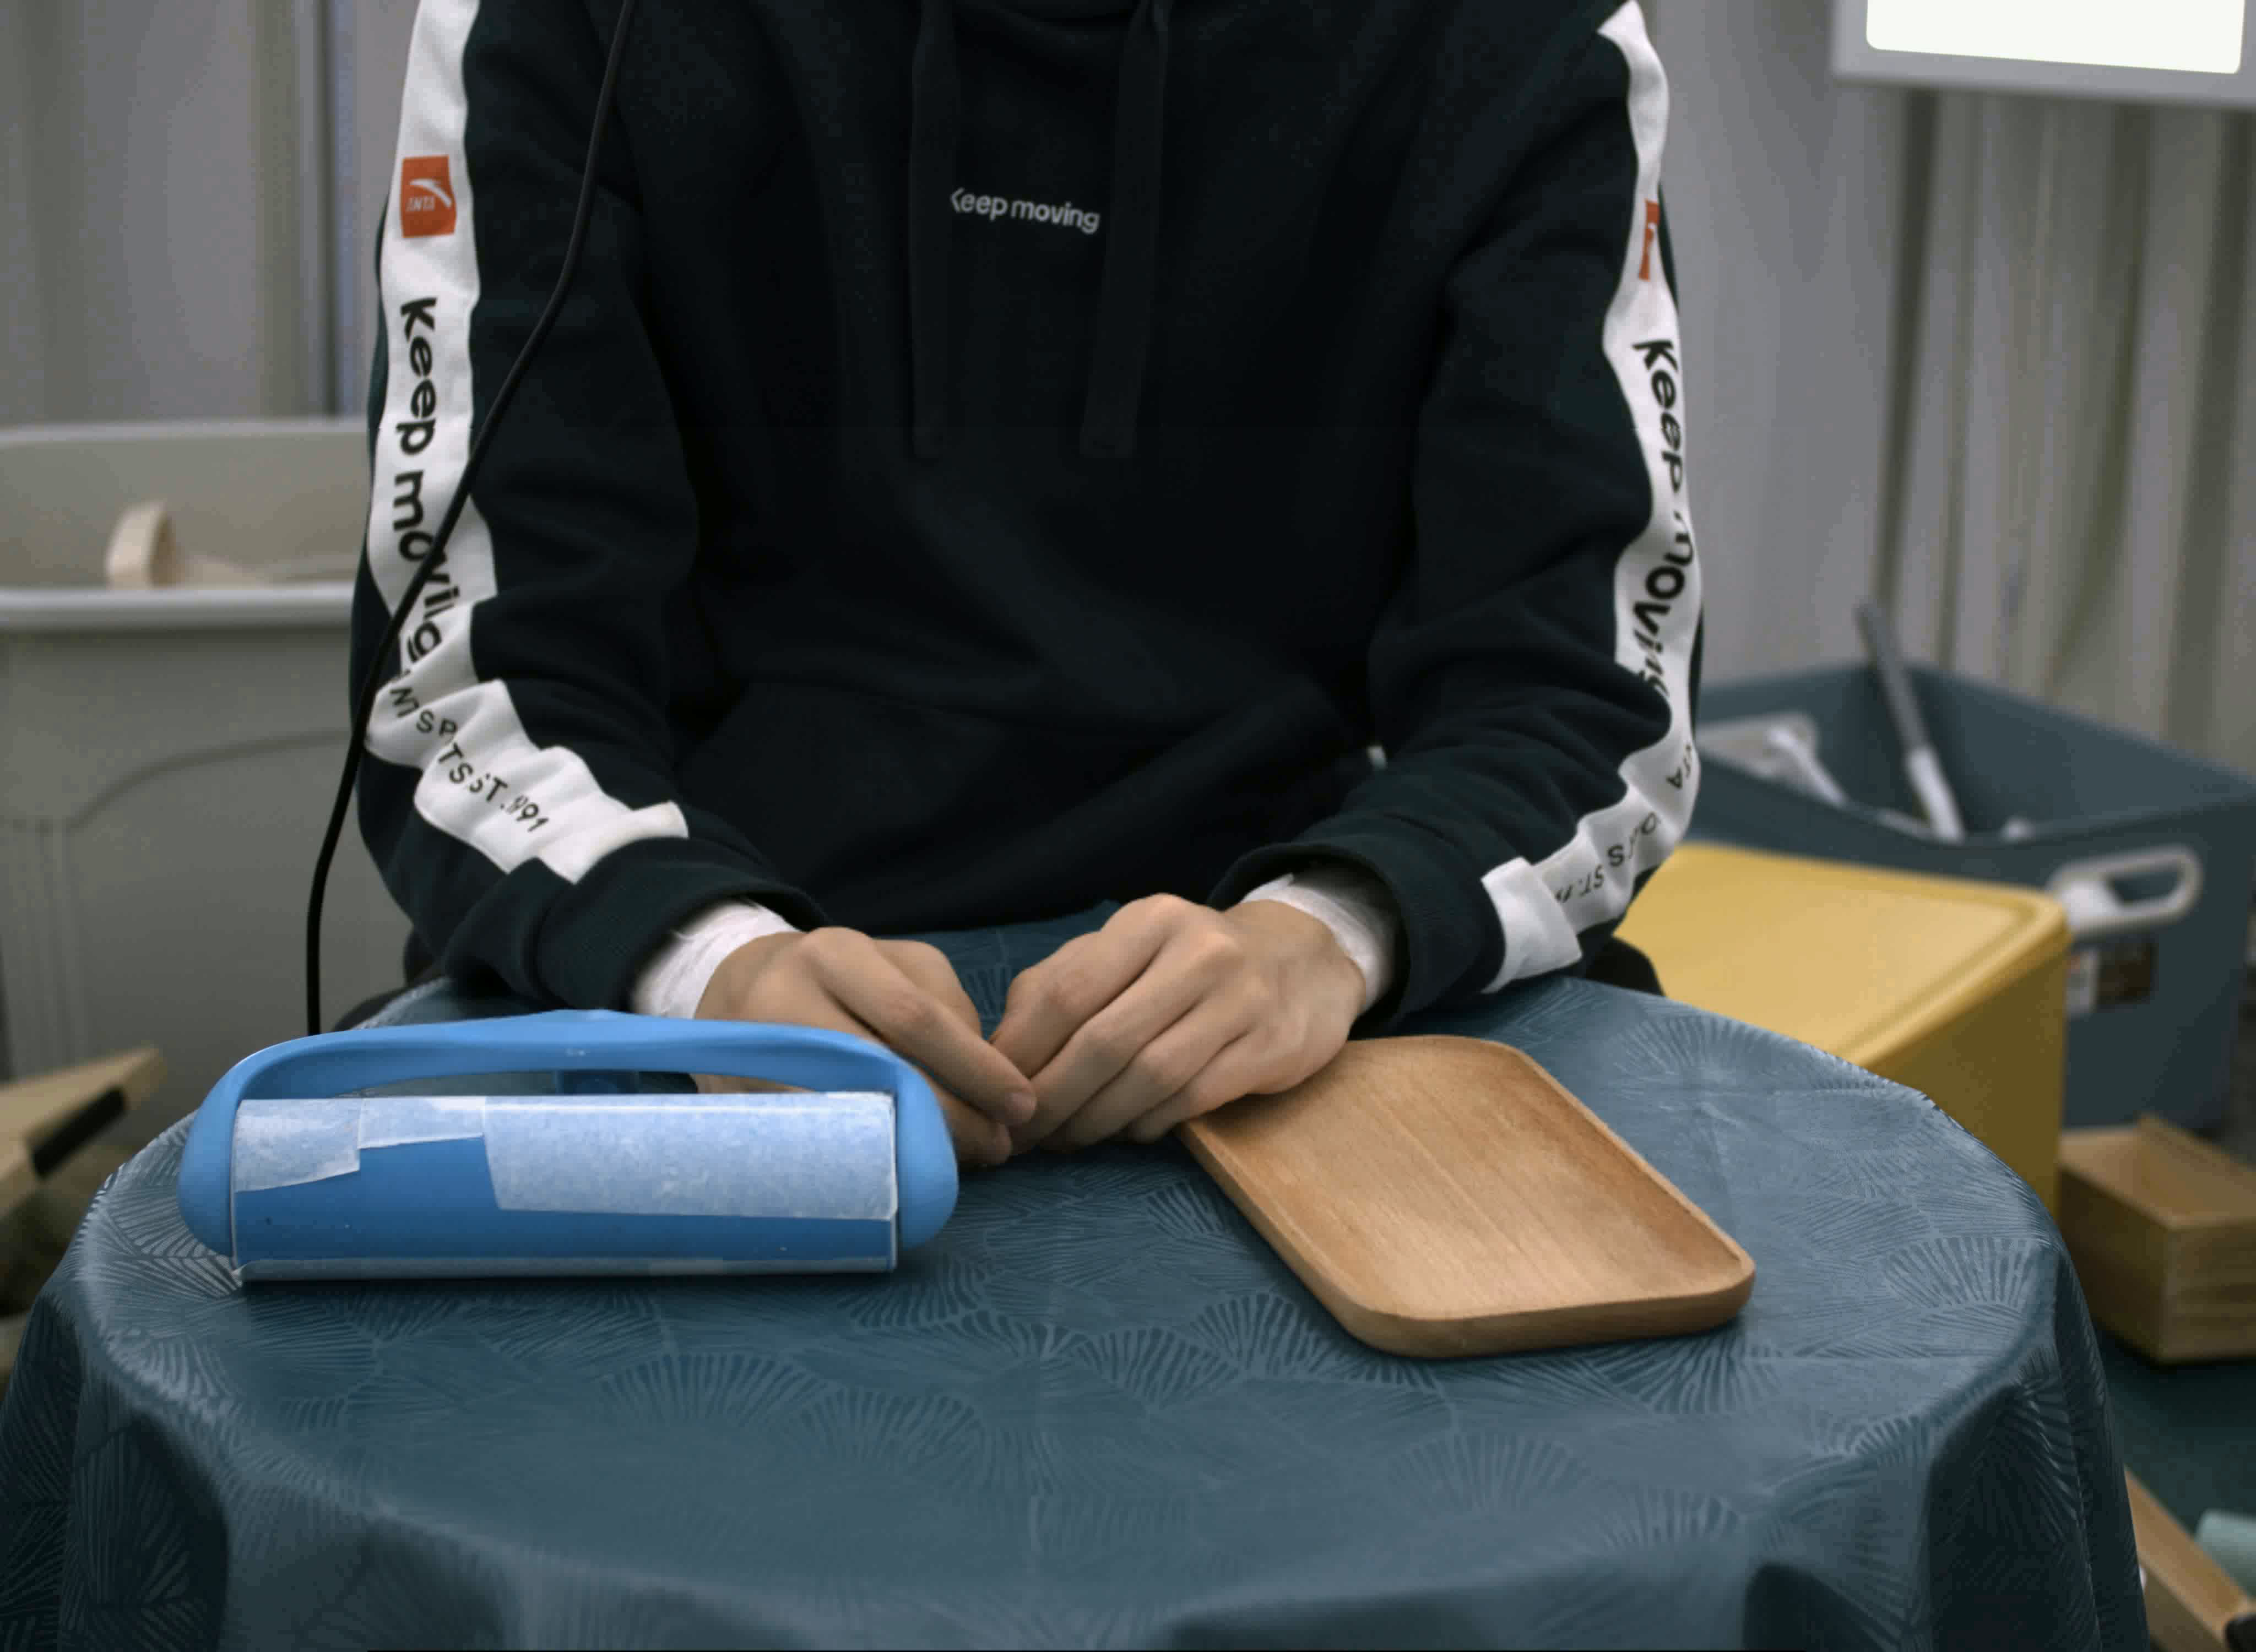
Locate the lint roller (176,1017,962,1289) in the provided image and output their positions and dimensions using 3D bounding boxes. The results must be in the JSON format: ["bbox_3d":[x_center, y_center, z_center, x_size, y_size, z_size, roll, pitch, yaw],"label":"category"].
[{"bbox_3d":[-0.168,0.088,1.594,0.228,0.068,0.179,-3,17,-5],"label":"lint roller"}]

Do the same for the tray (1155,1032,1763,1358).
[{"bbox_3d":[0.096,0.109,1.602,0.131,0.023,0.248,-2,15,-15],"label":"tray"}]
